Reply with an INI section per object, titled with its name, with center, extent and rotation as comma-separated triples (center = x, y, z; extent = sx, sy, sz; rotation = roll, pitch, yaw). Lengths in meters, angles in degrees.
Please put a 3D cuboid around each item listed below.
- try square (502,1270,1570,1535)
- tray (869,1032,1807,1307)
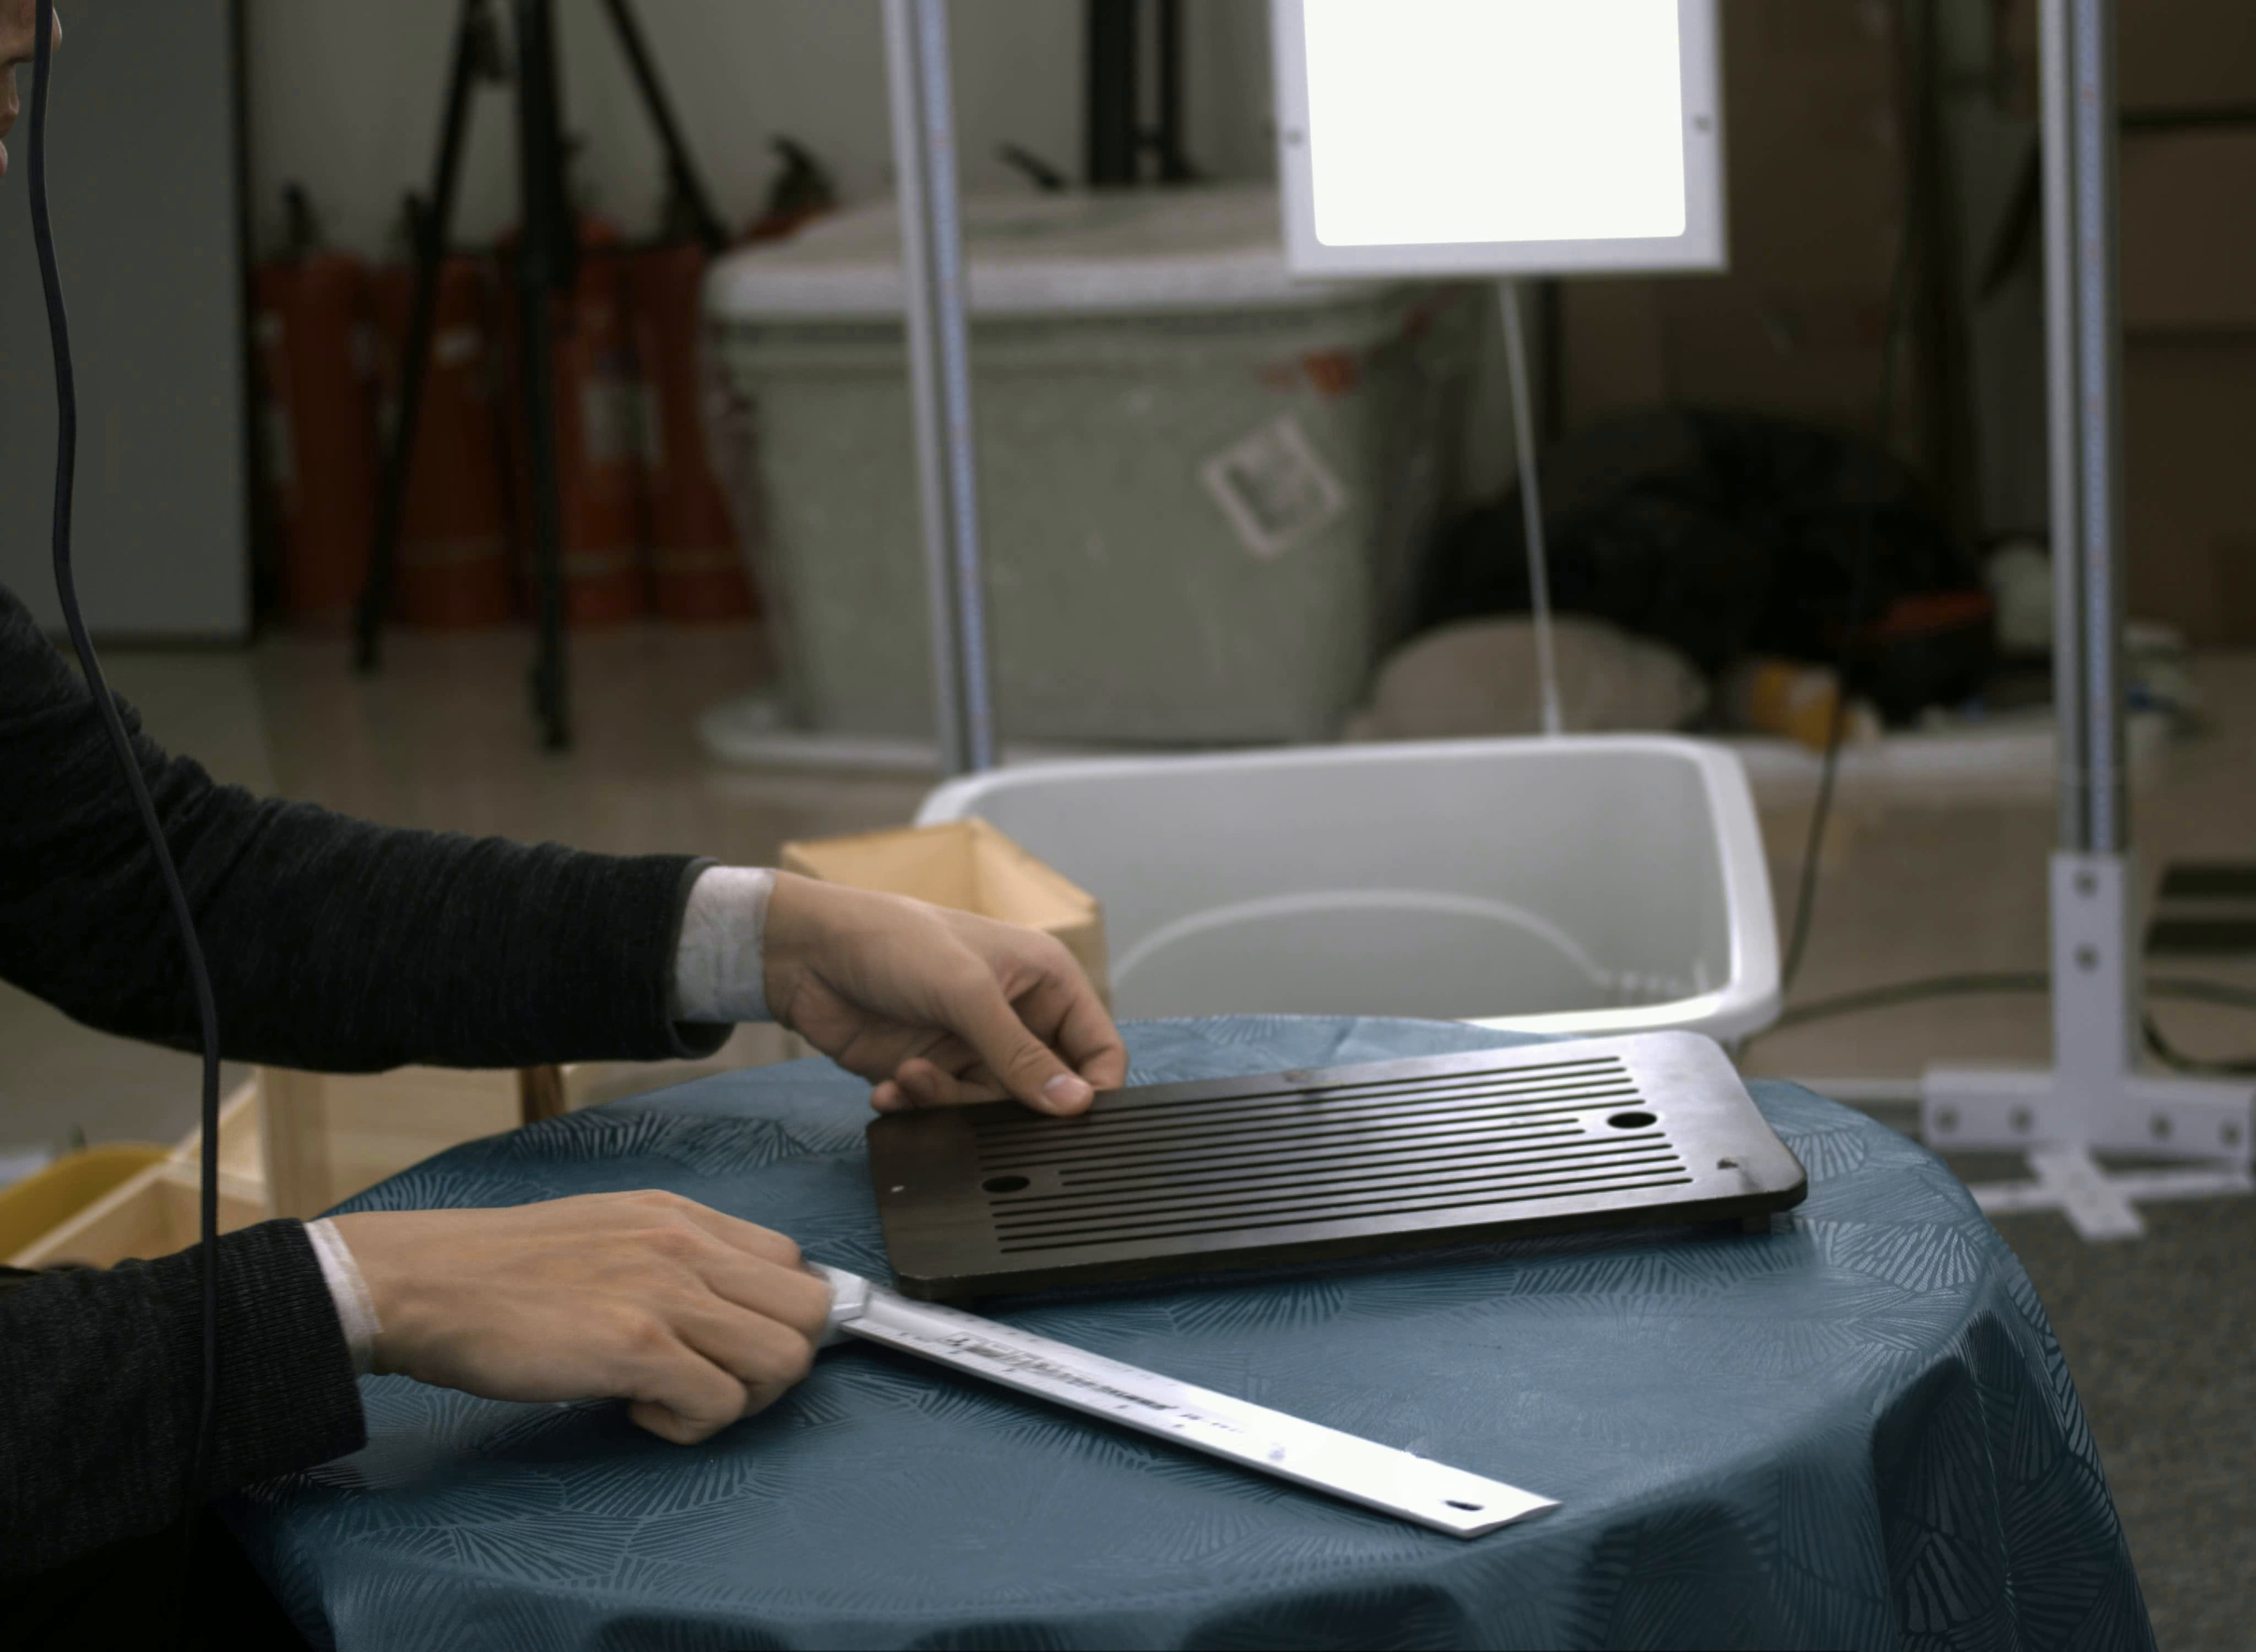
[try square]
center = -0.034, 0.181, 1.644
extent = 0.148, 0.016, 0.319
rotation = -10, 15, -41
[tray]
center = 0.067, 0.116, 1.867
extent = 0.304, 0.019, 0.170
rotation = -6, 16, -2
